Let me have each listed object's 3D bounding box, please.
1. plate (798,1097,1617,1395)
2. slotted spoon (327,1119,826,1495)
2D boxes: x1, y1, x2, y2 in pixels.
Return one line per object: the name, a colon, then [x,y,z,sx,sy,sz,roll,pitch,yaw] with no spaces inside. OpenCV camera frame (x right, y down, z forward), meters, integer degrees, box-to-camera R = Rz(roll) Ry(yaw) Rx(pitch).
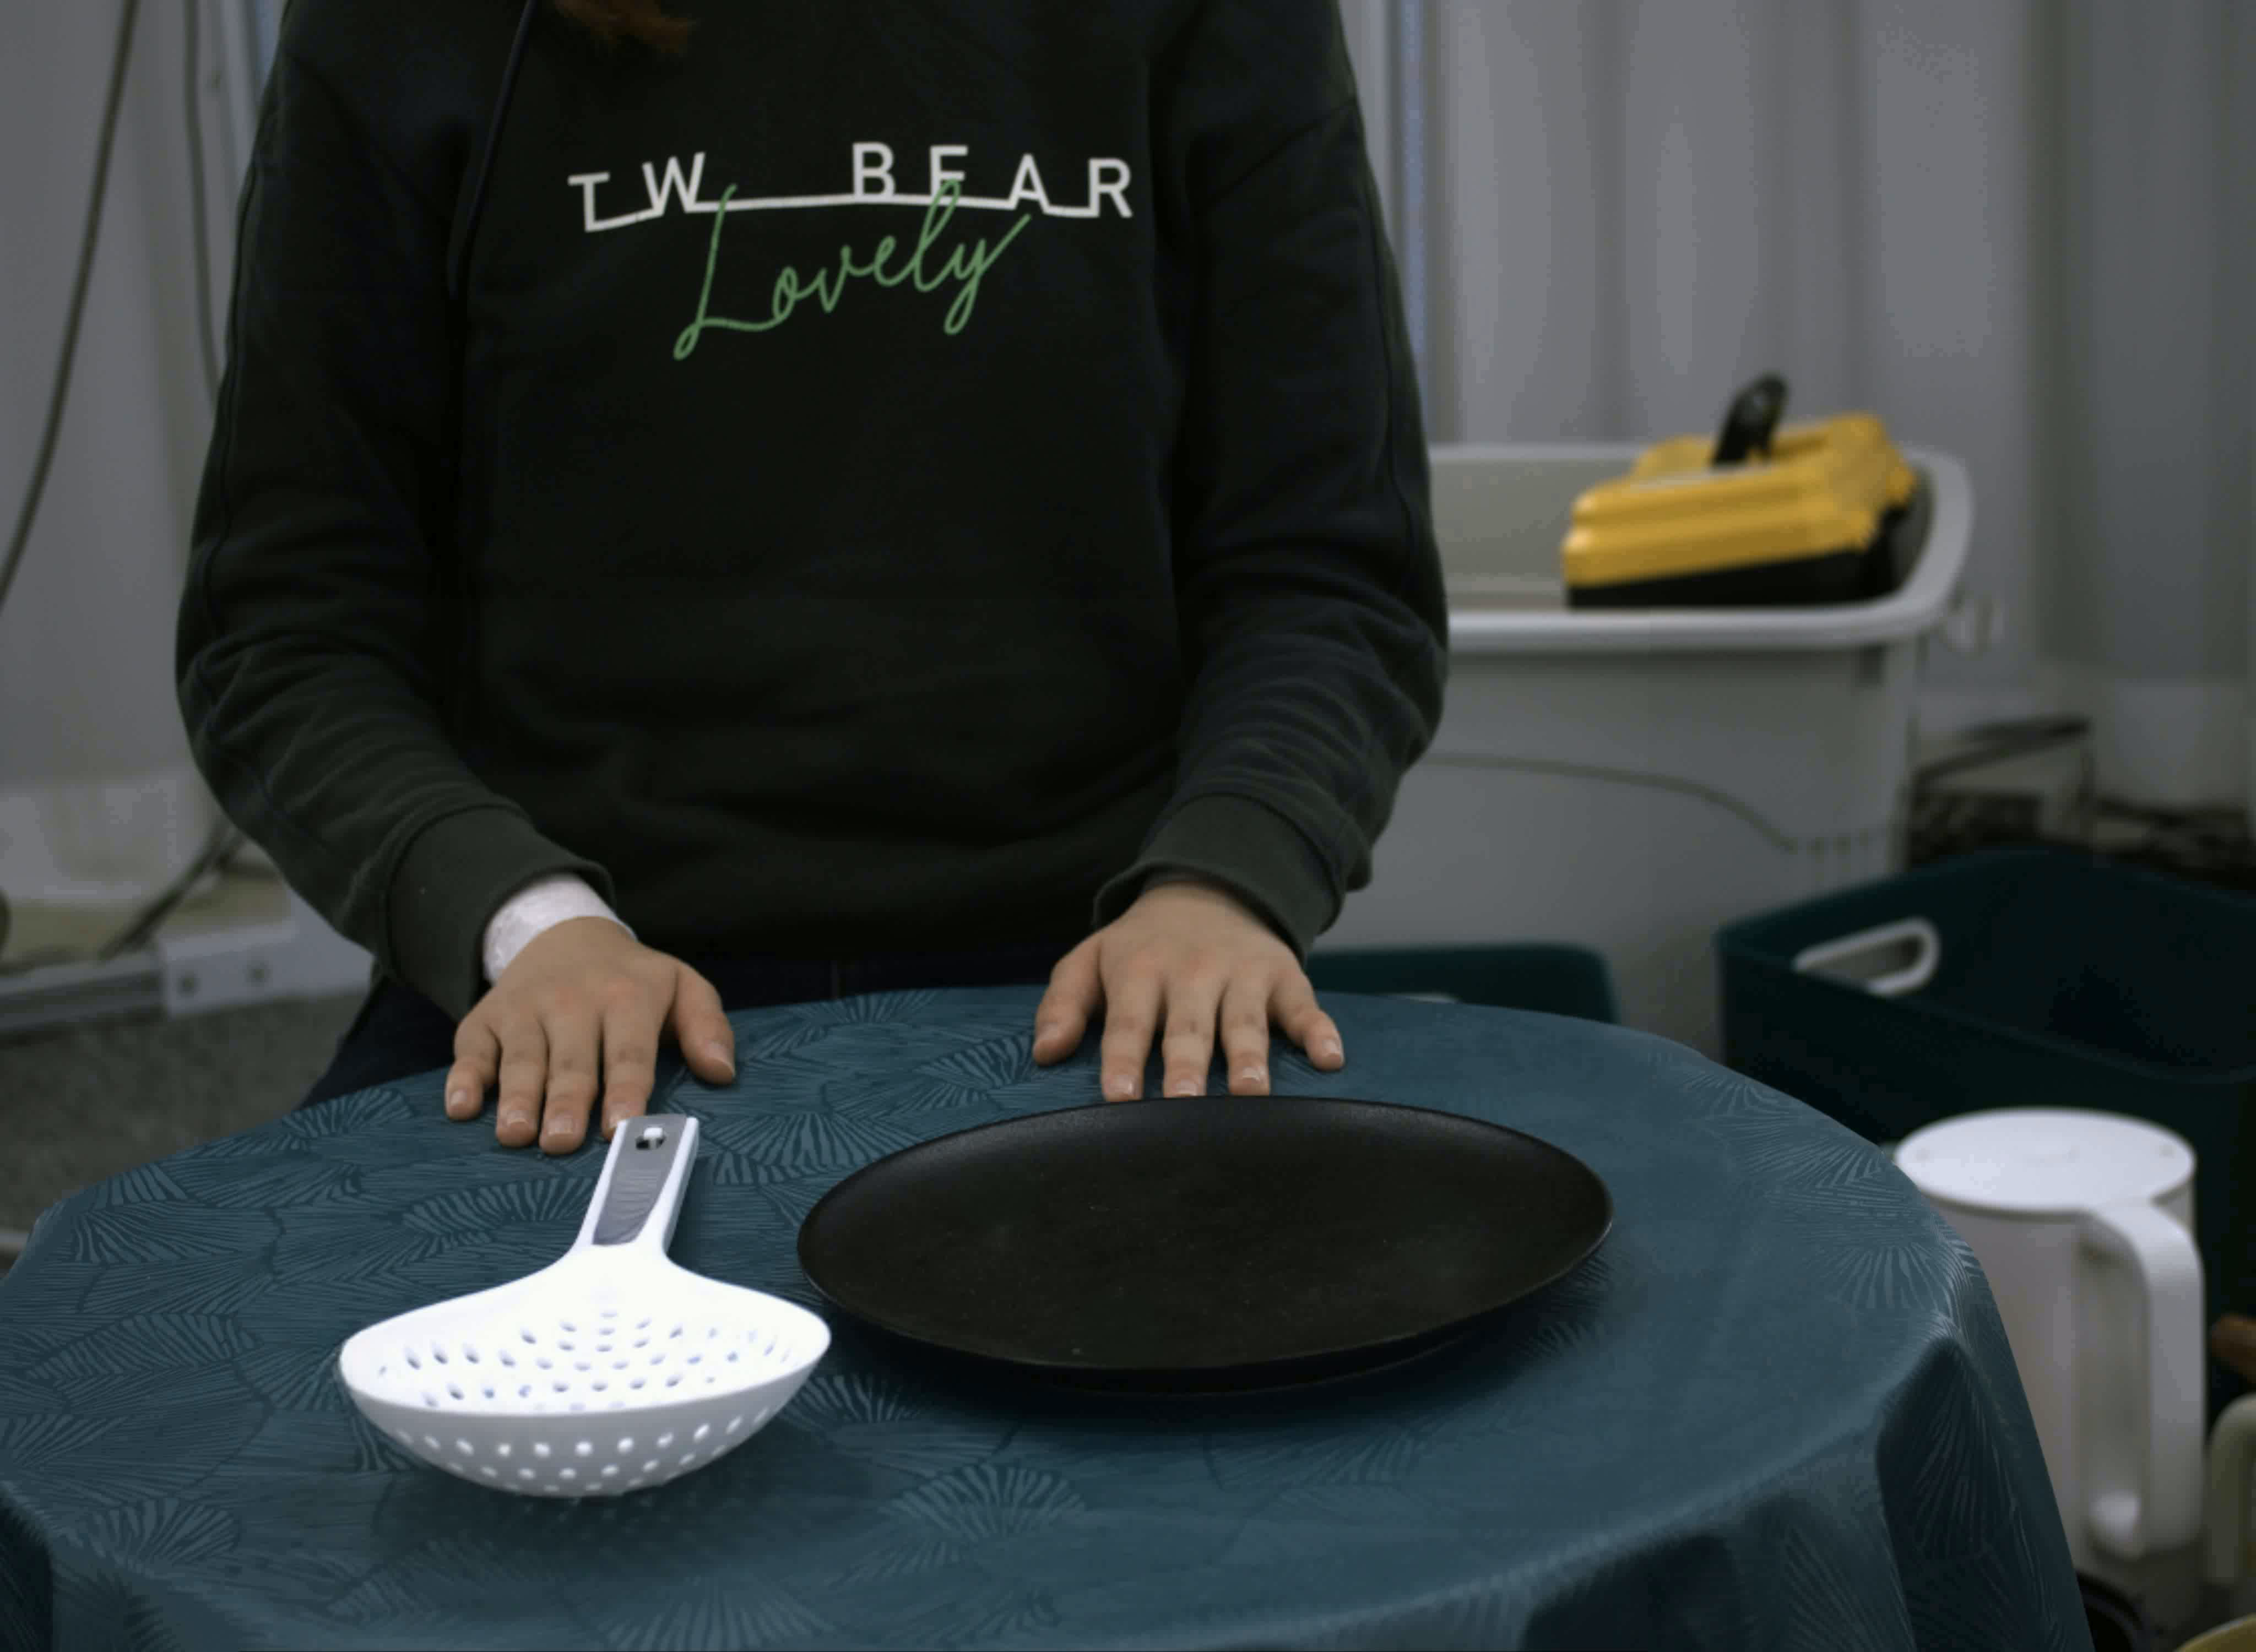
plate: [0.024,0.127,1.620,0.243,0.023,0.246,-3,15,0]
slotted spoon: [-0.150,0.131,1.595,0.135,0.045,0.352,-1,14,0]
